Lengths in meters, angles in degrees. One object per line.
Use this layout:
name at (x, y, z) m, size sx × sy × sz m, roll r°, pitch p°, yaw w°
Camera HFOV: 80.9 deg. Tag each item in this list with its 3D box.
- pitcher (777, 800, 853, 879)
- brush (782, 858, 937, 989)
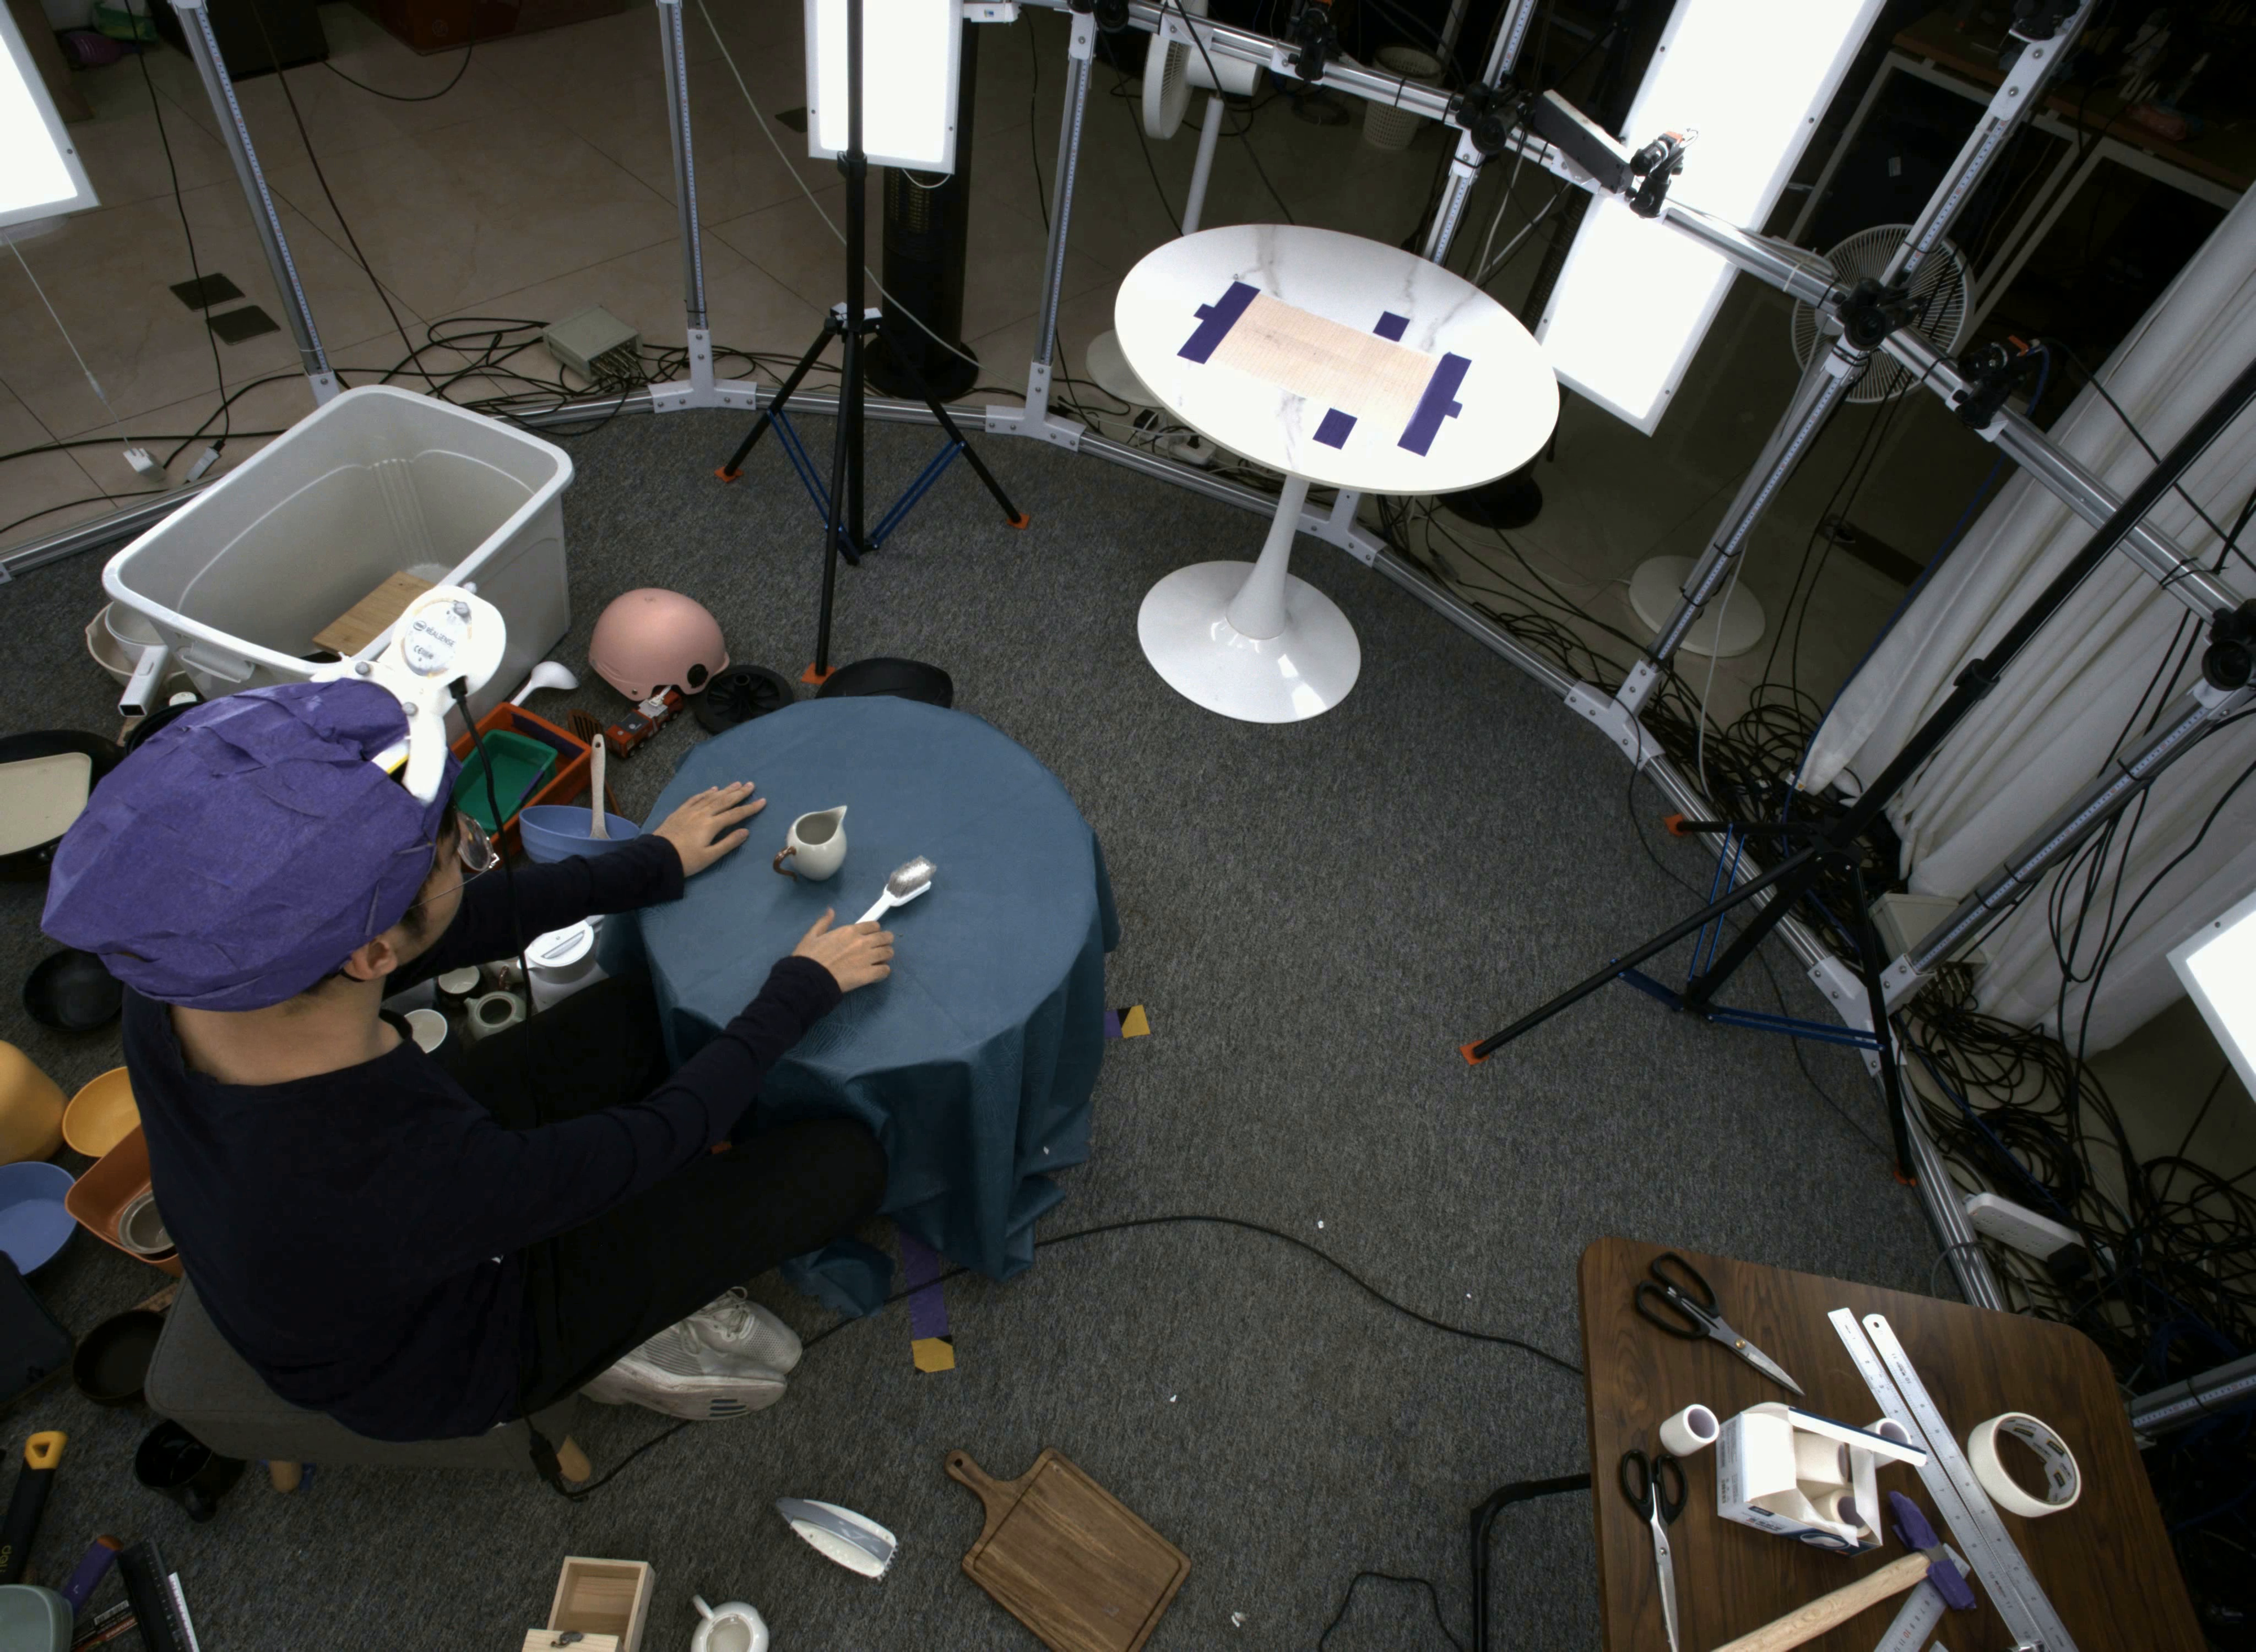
pitcher at (-0.397, 0.024, 1.657) m, size 0.074 × 0.090 × 0.119 m, roll 38°, pitch 52°, yaw 23°
brush at (-0.336, 0.117, 1.630) m, size 0.034 × 0.051 × 0.244 m, roll 42°, pitch 55°, yaw 15°
